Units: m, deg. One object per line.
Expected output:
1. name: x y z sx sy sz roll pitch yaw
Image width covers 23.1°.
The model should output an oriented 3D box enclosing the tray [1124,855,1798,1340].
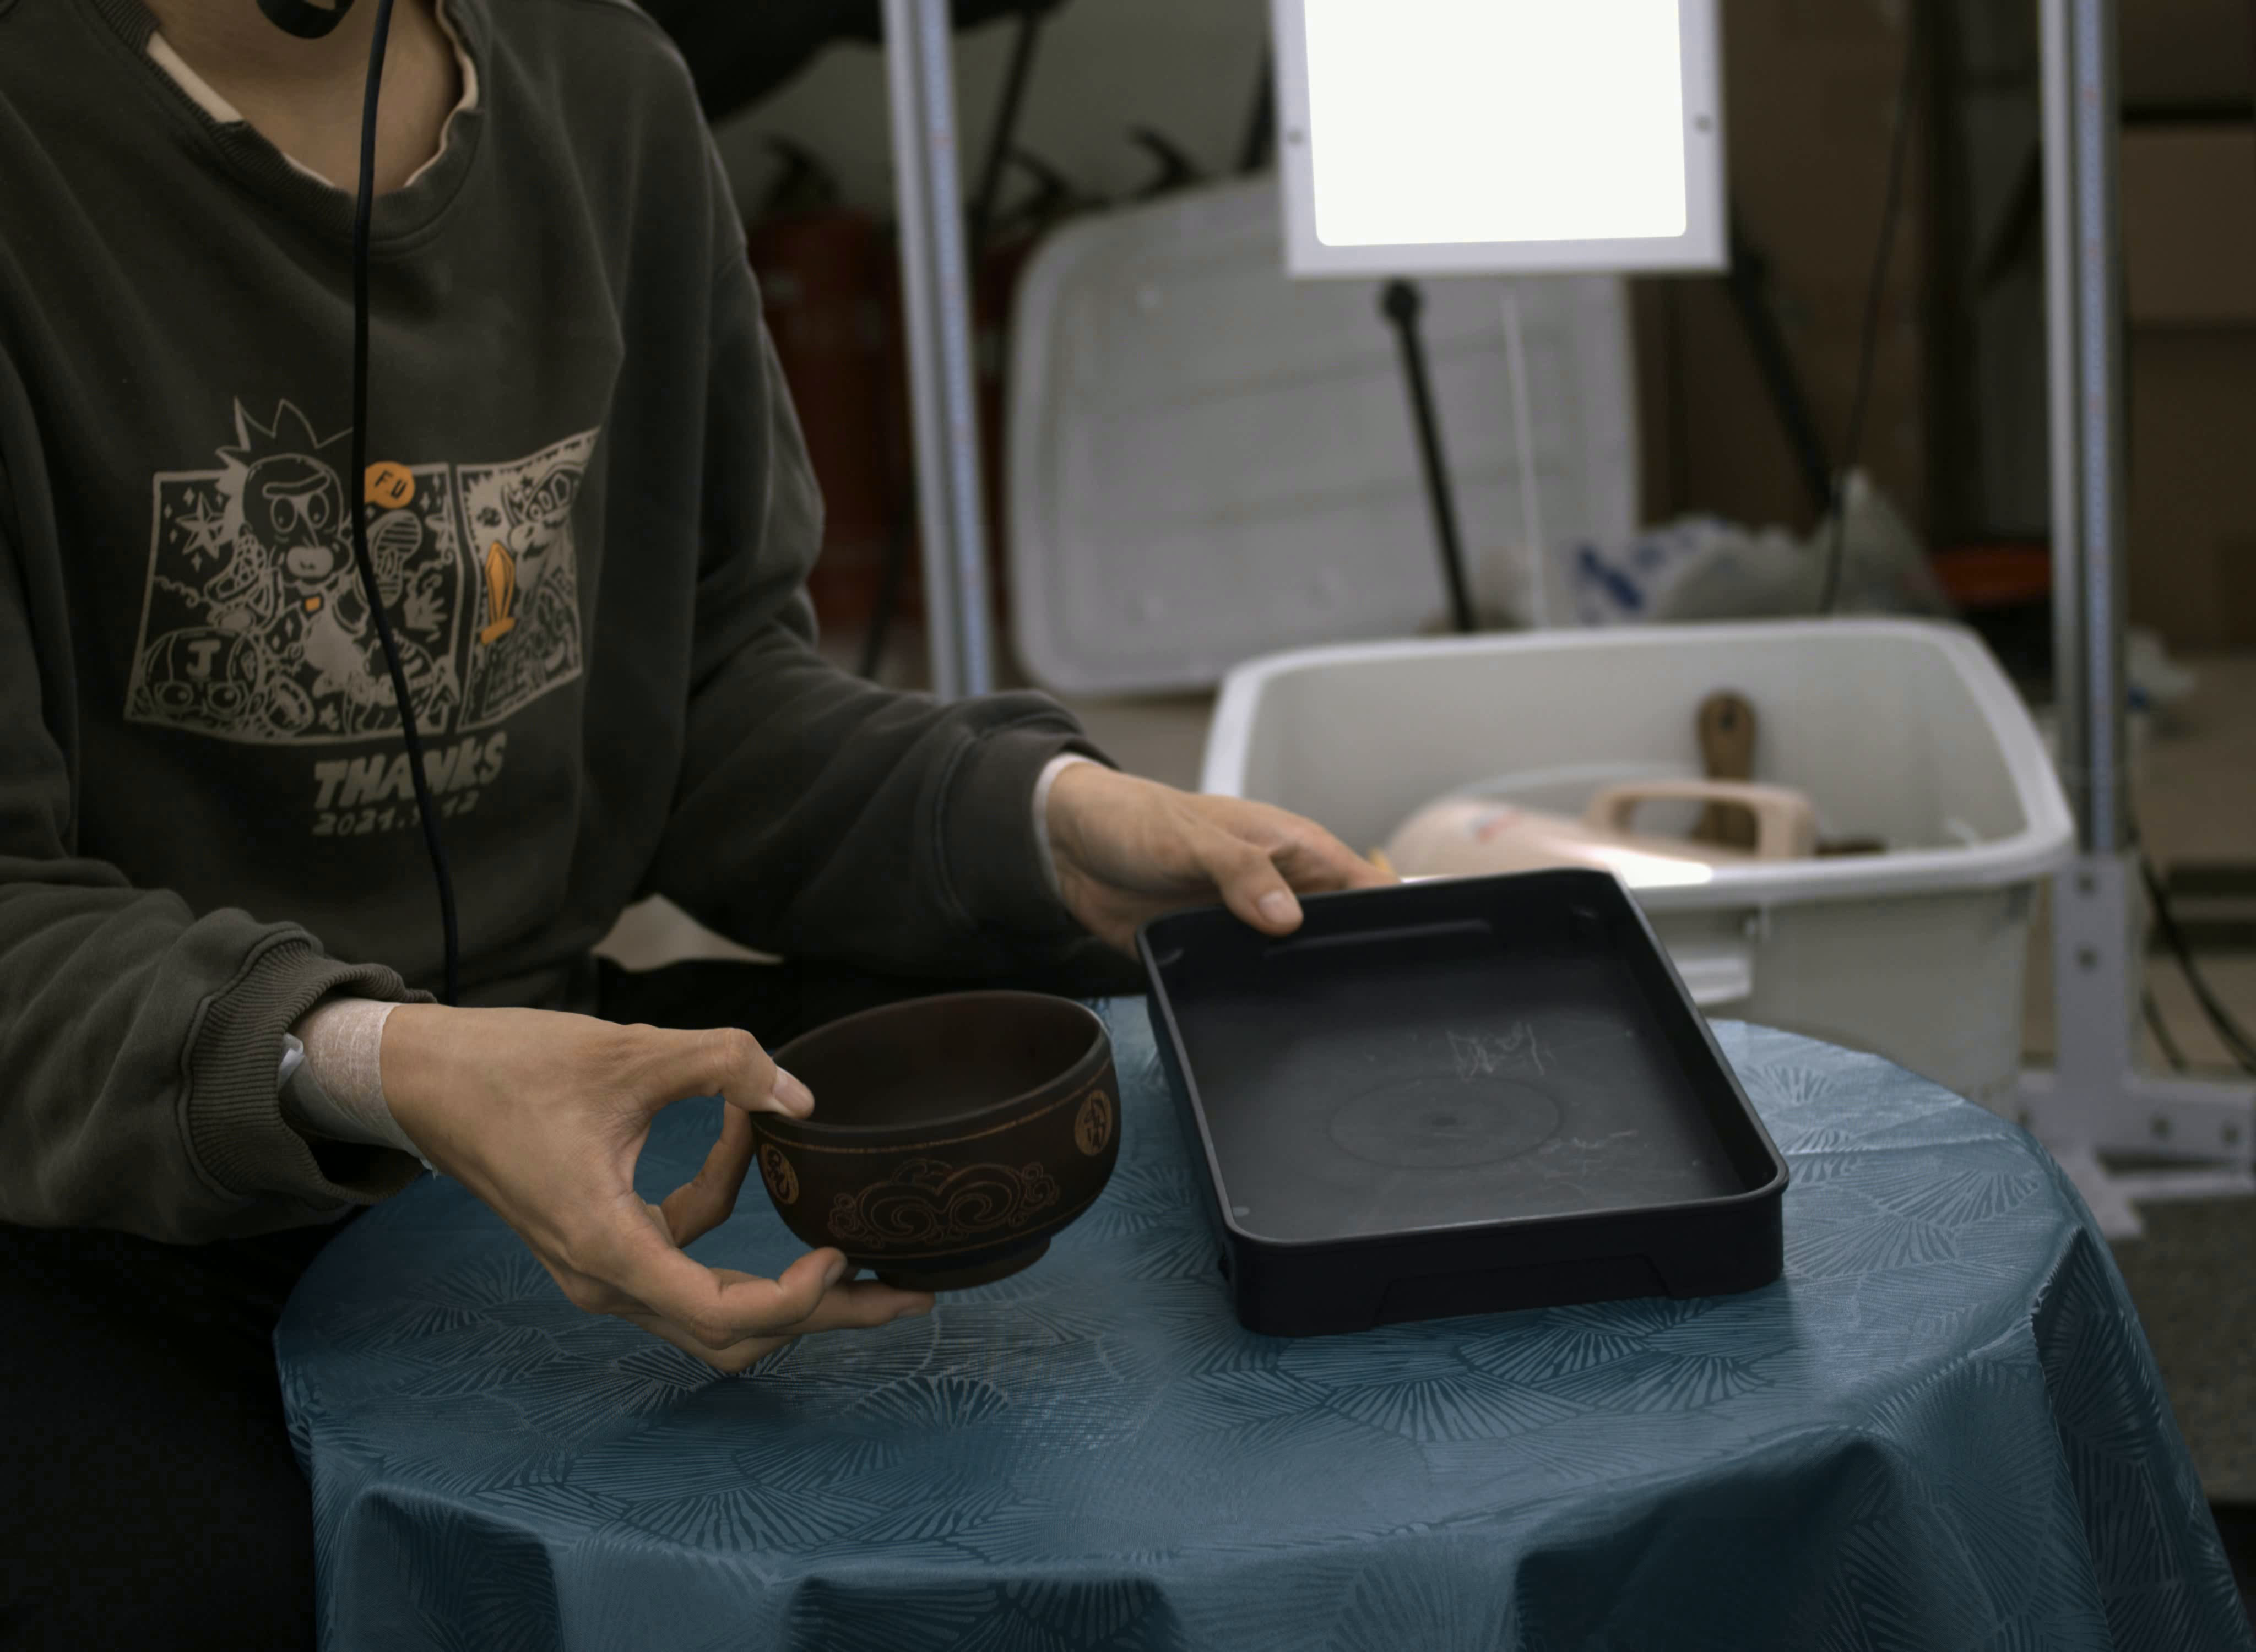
1. tray: 0.108 0.087 1.883 0.183 0.037 0.318 -8 20 -4

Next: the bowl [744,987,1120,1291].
1. bowl: -0.058 0.104 1.740 0.118 0.070 0.118 -11 18 2
